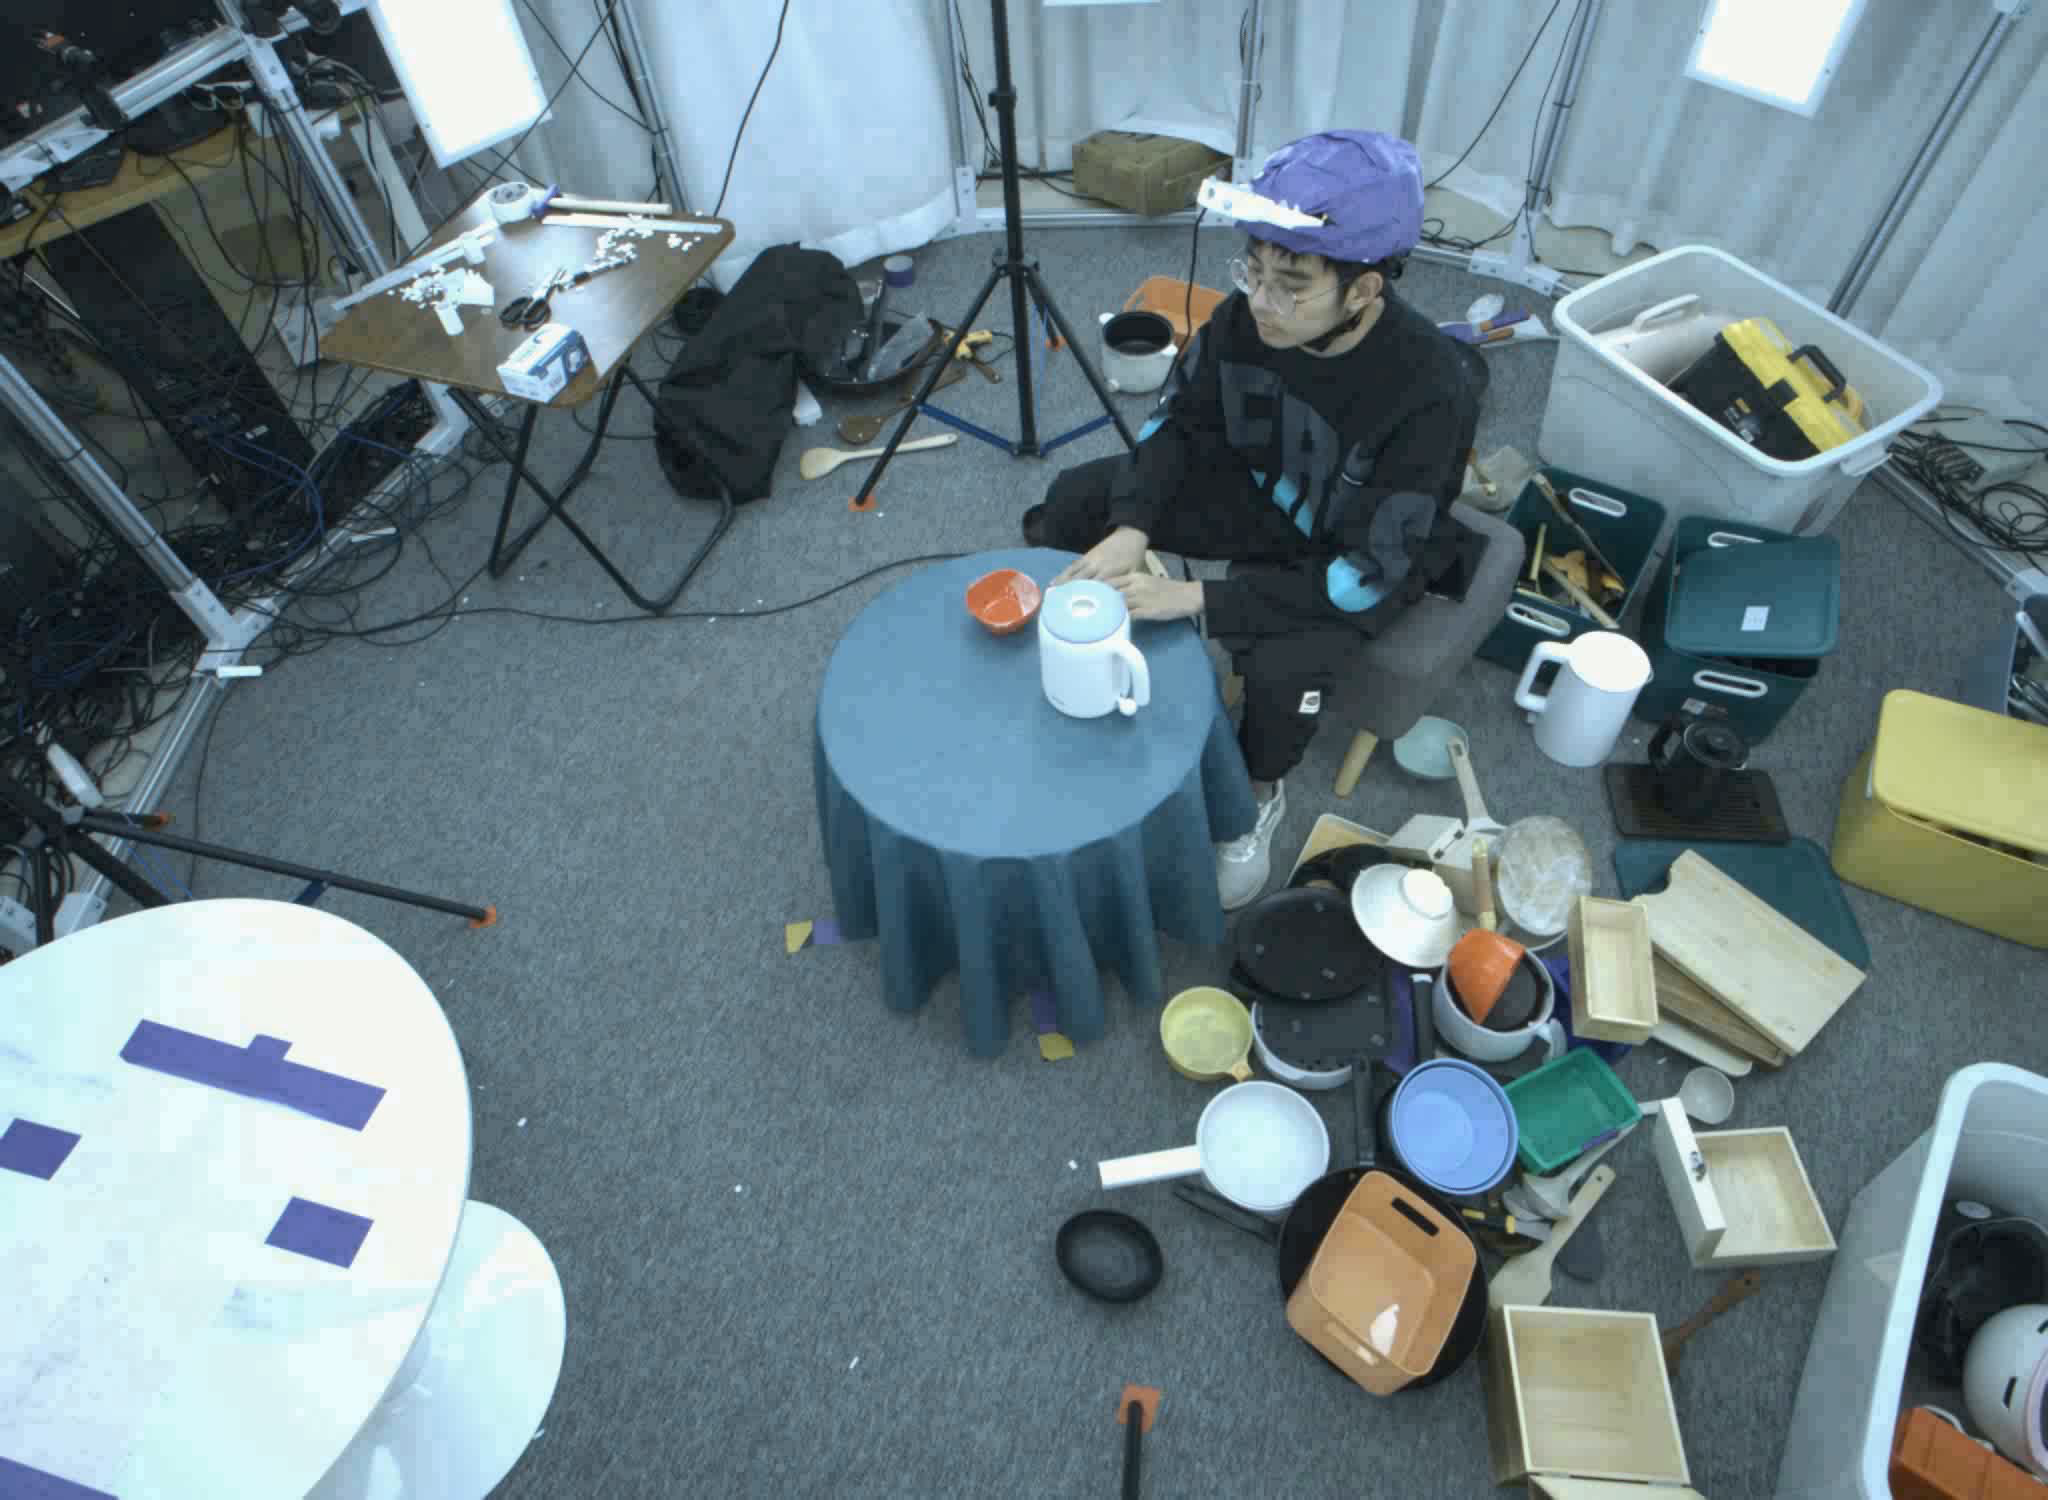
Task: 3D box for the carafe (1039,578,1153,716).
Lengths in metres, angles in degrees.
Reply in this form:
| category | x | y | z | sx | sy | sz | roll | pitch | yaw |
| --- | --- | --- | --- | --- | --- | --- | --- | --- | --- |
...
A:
| category | x | y | z | sx | sy | sz | roll | pitch | yaw |
| --- | --- | --- | --- | --- | --- | --- | --- | --- | --- |
| carafe | 0.107 | -0.135 | 1.770 | 0.188 | 0.184 | 0.133 | 35 | 65 | 22 |

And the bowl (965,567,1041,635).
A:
| category | x | y | z | sx | sy | sz | roll | pitch | yaw |
| --- | --- | --- | --- | --- | --- | --- | --- | --- | --- |
| bowl | -0.031 | -0.225 | 1.911 | 0.118 | 0.052 | 0.117 | -2 | 54 | 4 |
